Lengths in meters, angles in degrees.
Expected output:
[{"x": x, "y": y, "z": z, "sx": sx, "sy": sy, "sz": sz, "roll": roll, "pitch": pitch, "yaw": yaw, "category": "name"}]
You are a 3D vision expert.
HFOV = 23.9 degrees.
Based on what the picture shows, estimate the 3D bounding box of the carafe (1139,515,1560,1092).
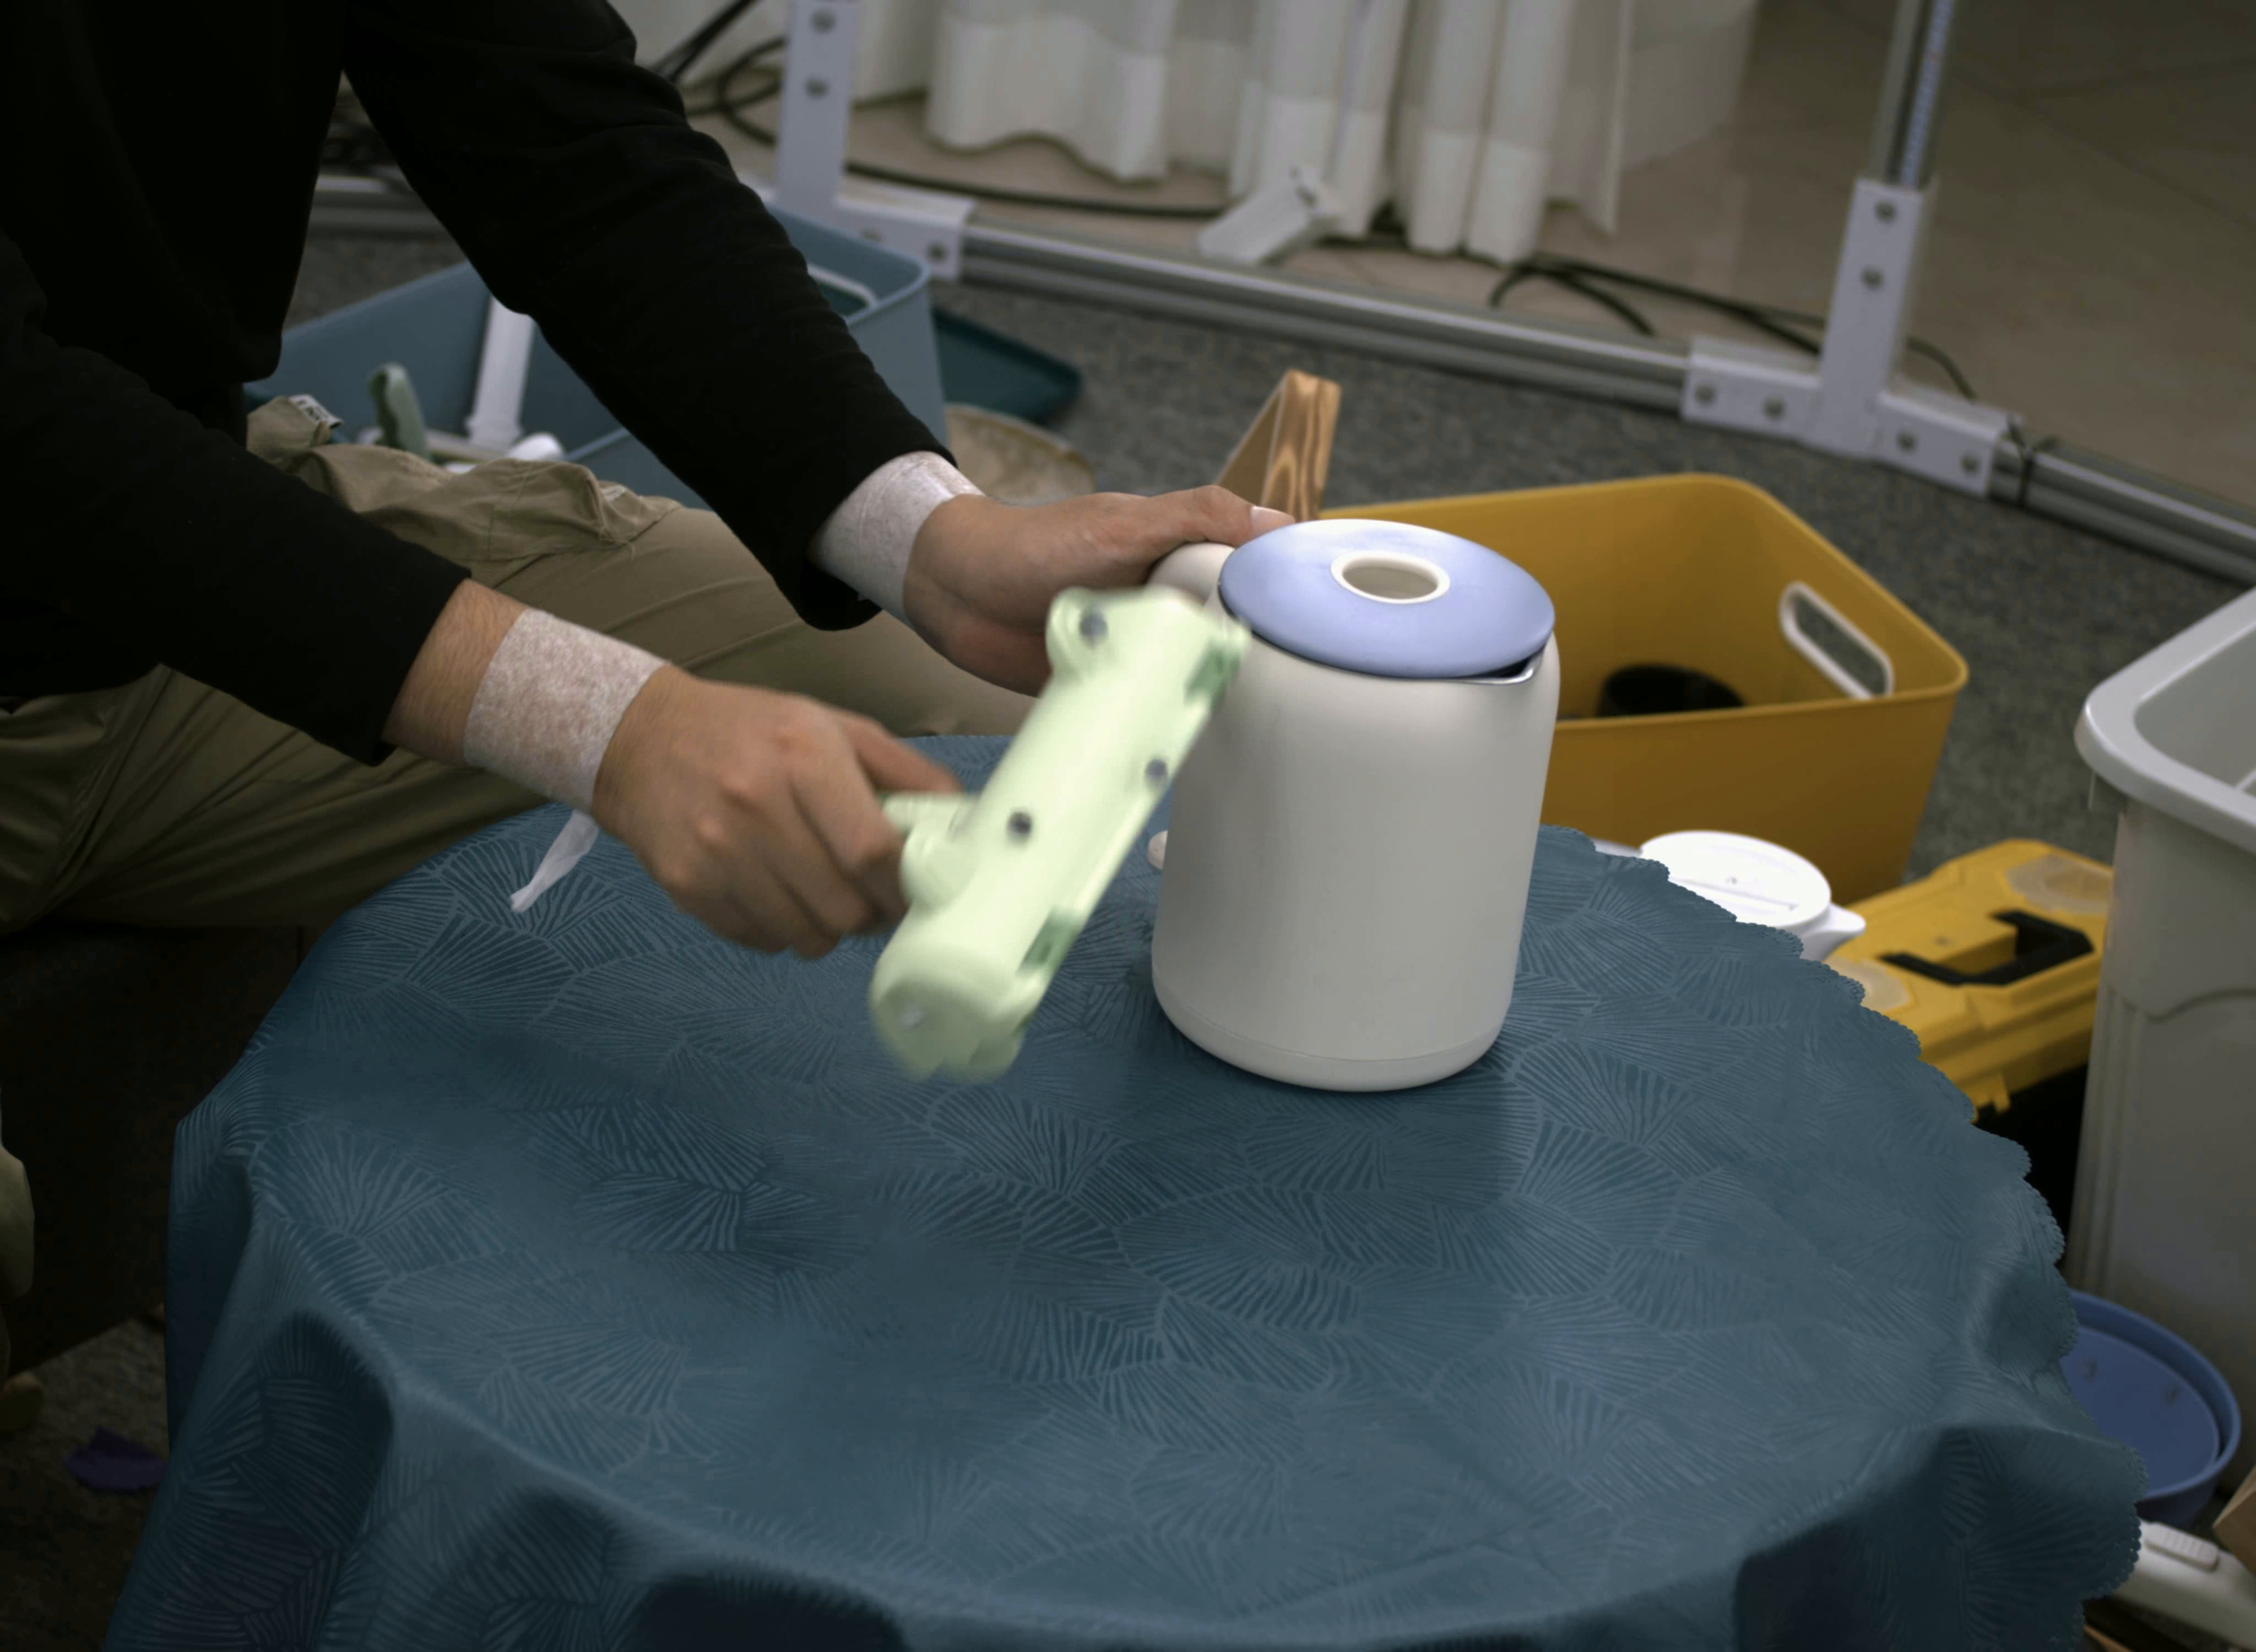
[{"x": 0.064, "y": -0.018, "z": 1.905, "sx": 0.131, "sy": 0.182, "sz": 0.192, "roll": -18, "pitch": 34, "yaw": -41, "category": "carafe"}]

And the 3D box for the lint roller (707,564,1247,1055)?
[{"x": -0.072, "y": -0.013, "z": 1.761, "sx": 0.184, "sy": 0.081, "sz": 0.199, "roll": 0, "pitch": 41, "yaw": 29, "category": "lint roller"}]
